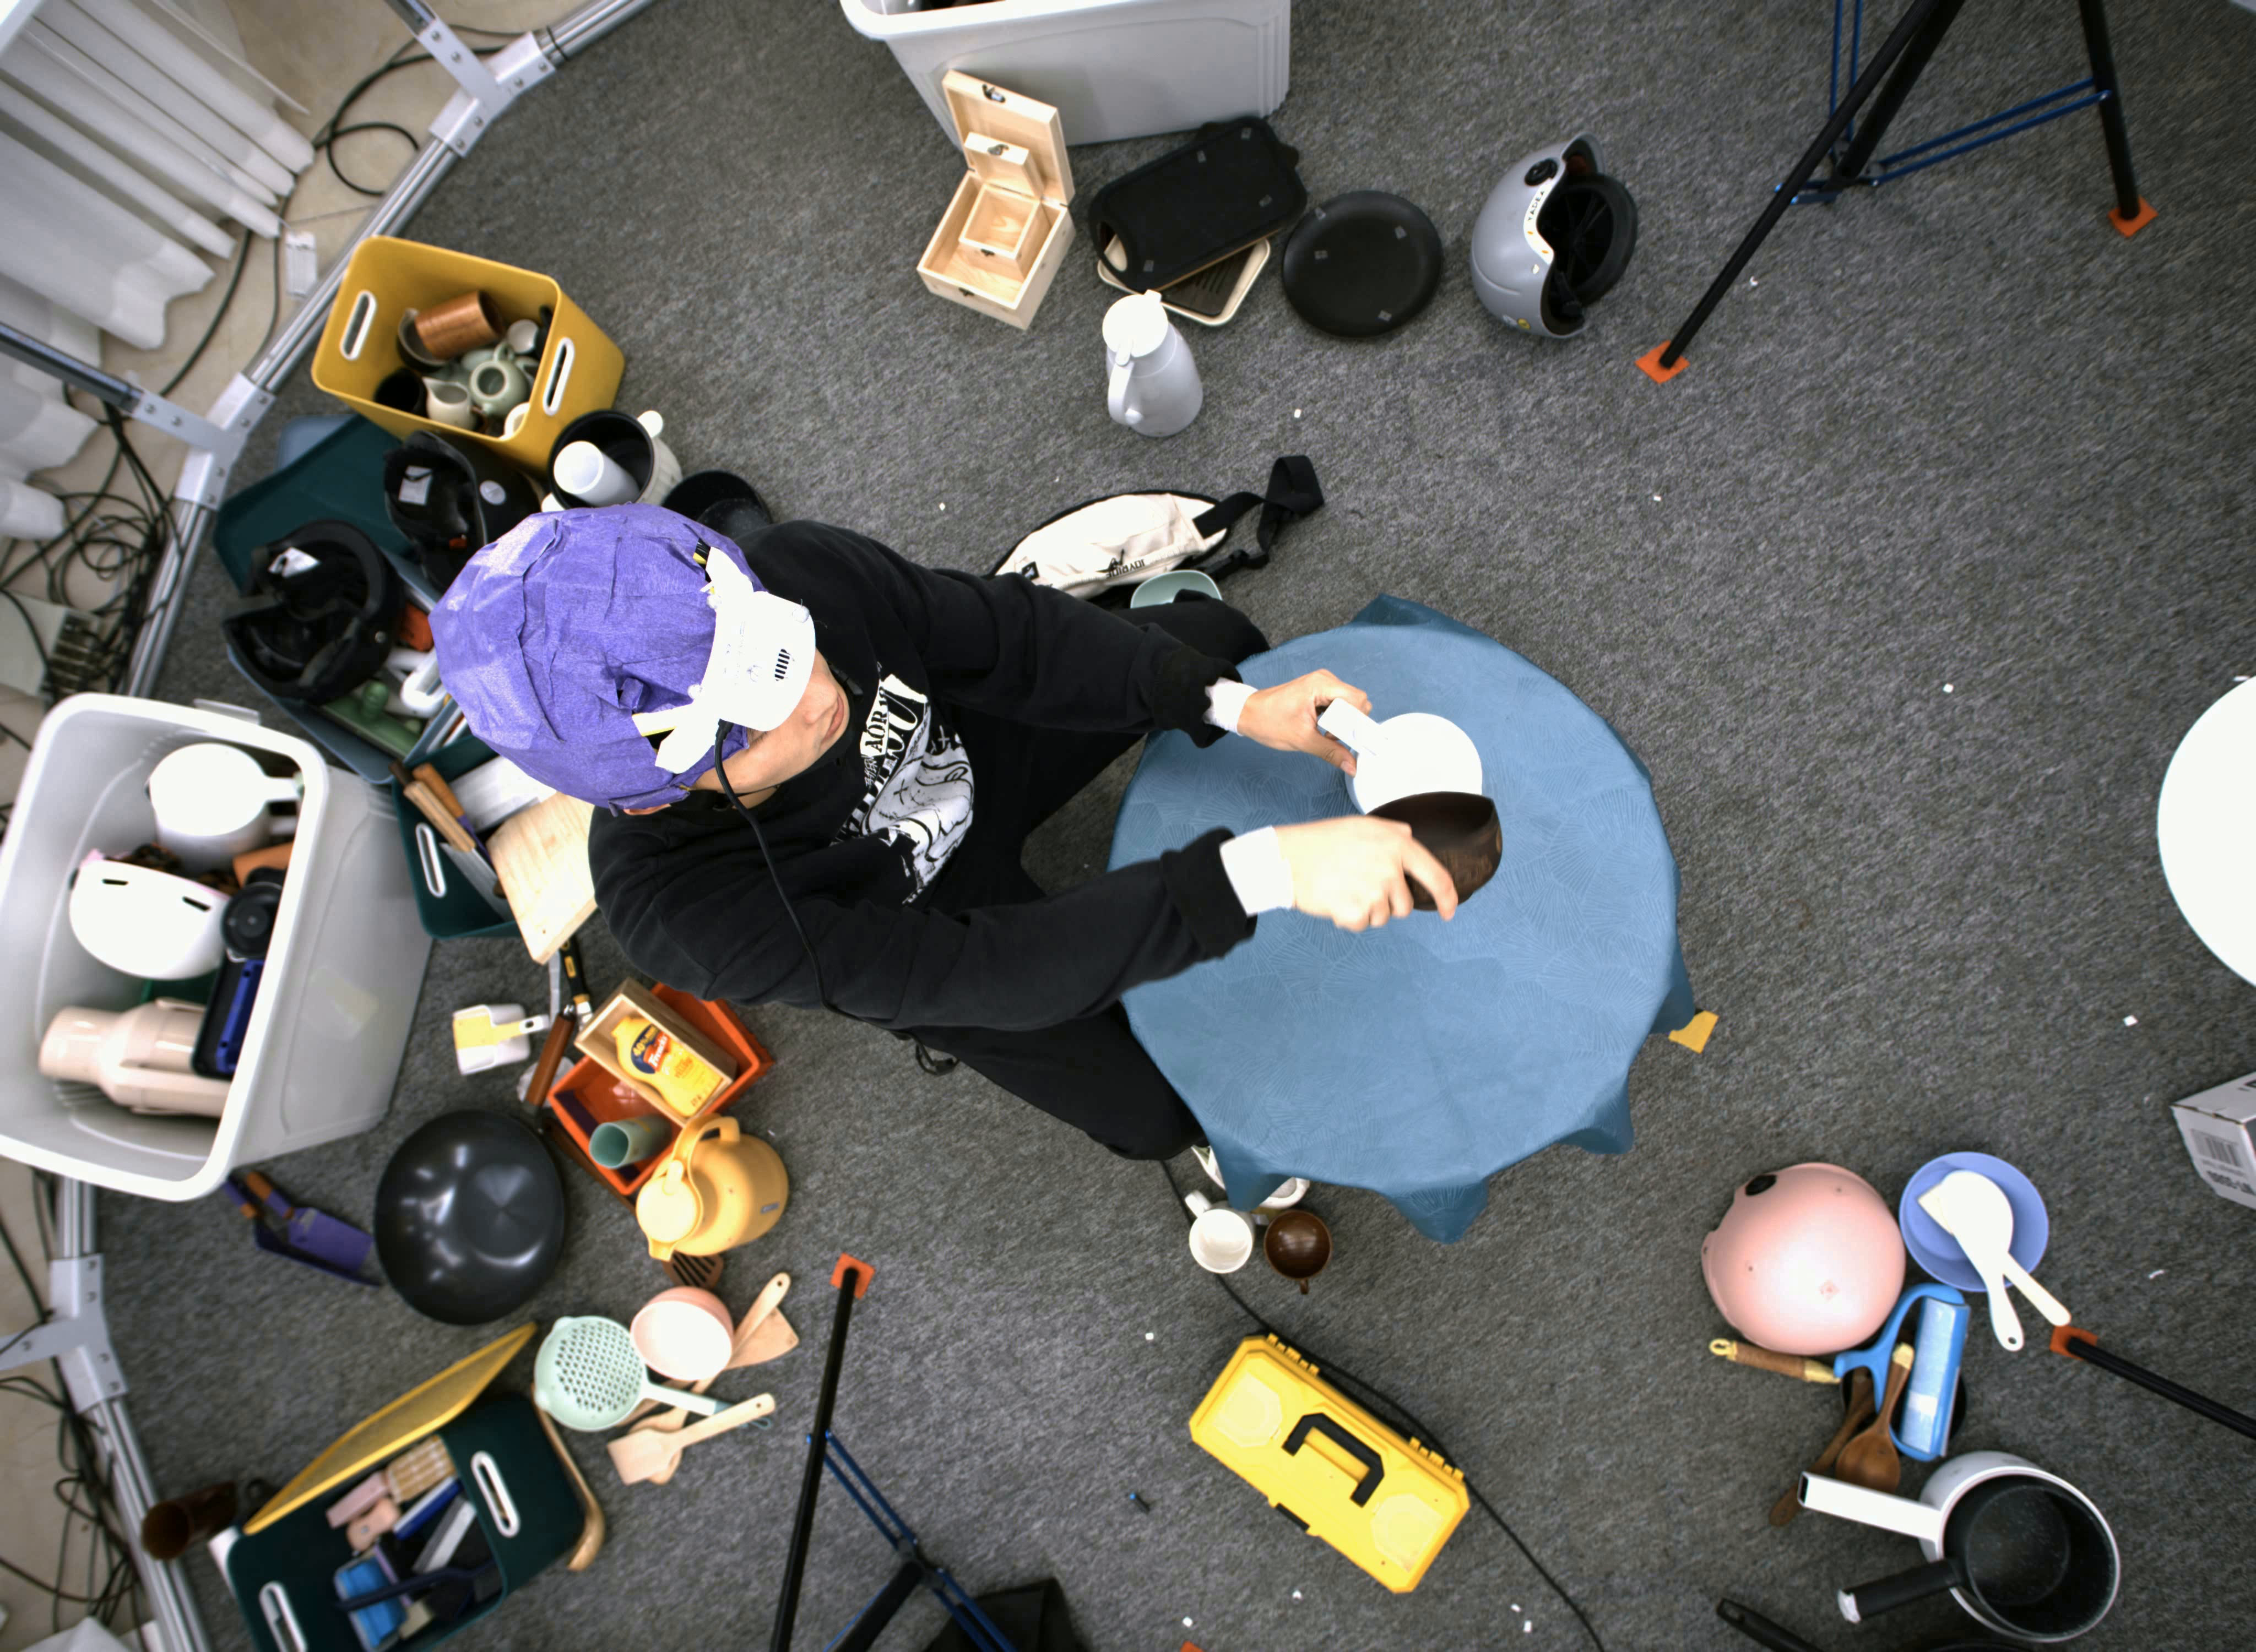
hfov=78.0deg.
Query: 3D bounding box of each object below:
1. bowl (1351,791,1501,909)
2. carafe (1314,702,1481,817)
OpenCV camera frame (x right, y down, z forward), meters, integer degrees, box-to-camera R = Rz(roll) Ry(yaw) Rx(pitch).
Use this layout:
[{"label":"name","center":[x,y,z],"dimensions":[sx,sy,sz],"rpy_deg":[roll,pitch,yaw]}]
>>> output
[{"label":"bowl","center":[0.245,0.023,1.120],"dimensions":[0.118,0.116,0.071],"rpy_deg":[-13,110,9]},{"label":"carafe","center":[0.257,-0.058,1.326],"dimensions":[0.173,0.266,0.125],"rpy_deg":[34,99,3]}]
